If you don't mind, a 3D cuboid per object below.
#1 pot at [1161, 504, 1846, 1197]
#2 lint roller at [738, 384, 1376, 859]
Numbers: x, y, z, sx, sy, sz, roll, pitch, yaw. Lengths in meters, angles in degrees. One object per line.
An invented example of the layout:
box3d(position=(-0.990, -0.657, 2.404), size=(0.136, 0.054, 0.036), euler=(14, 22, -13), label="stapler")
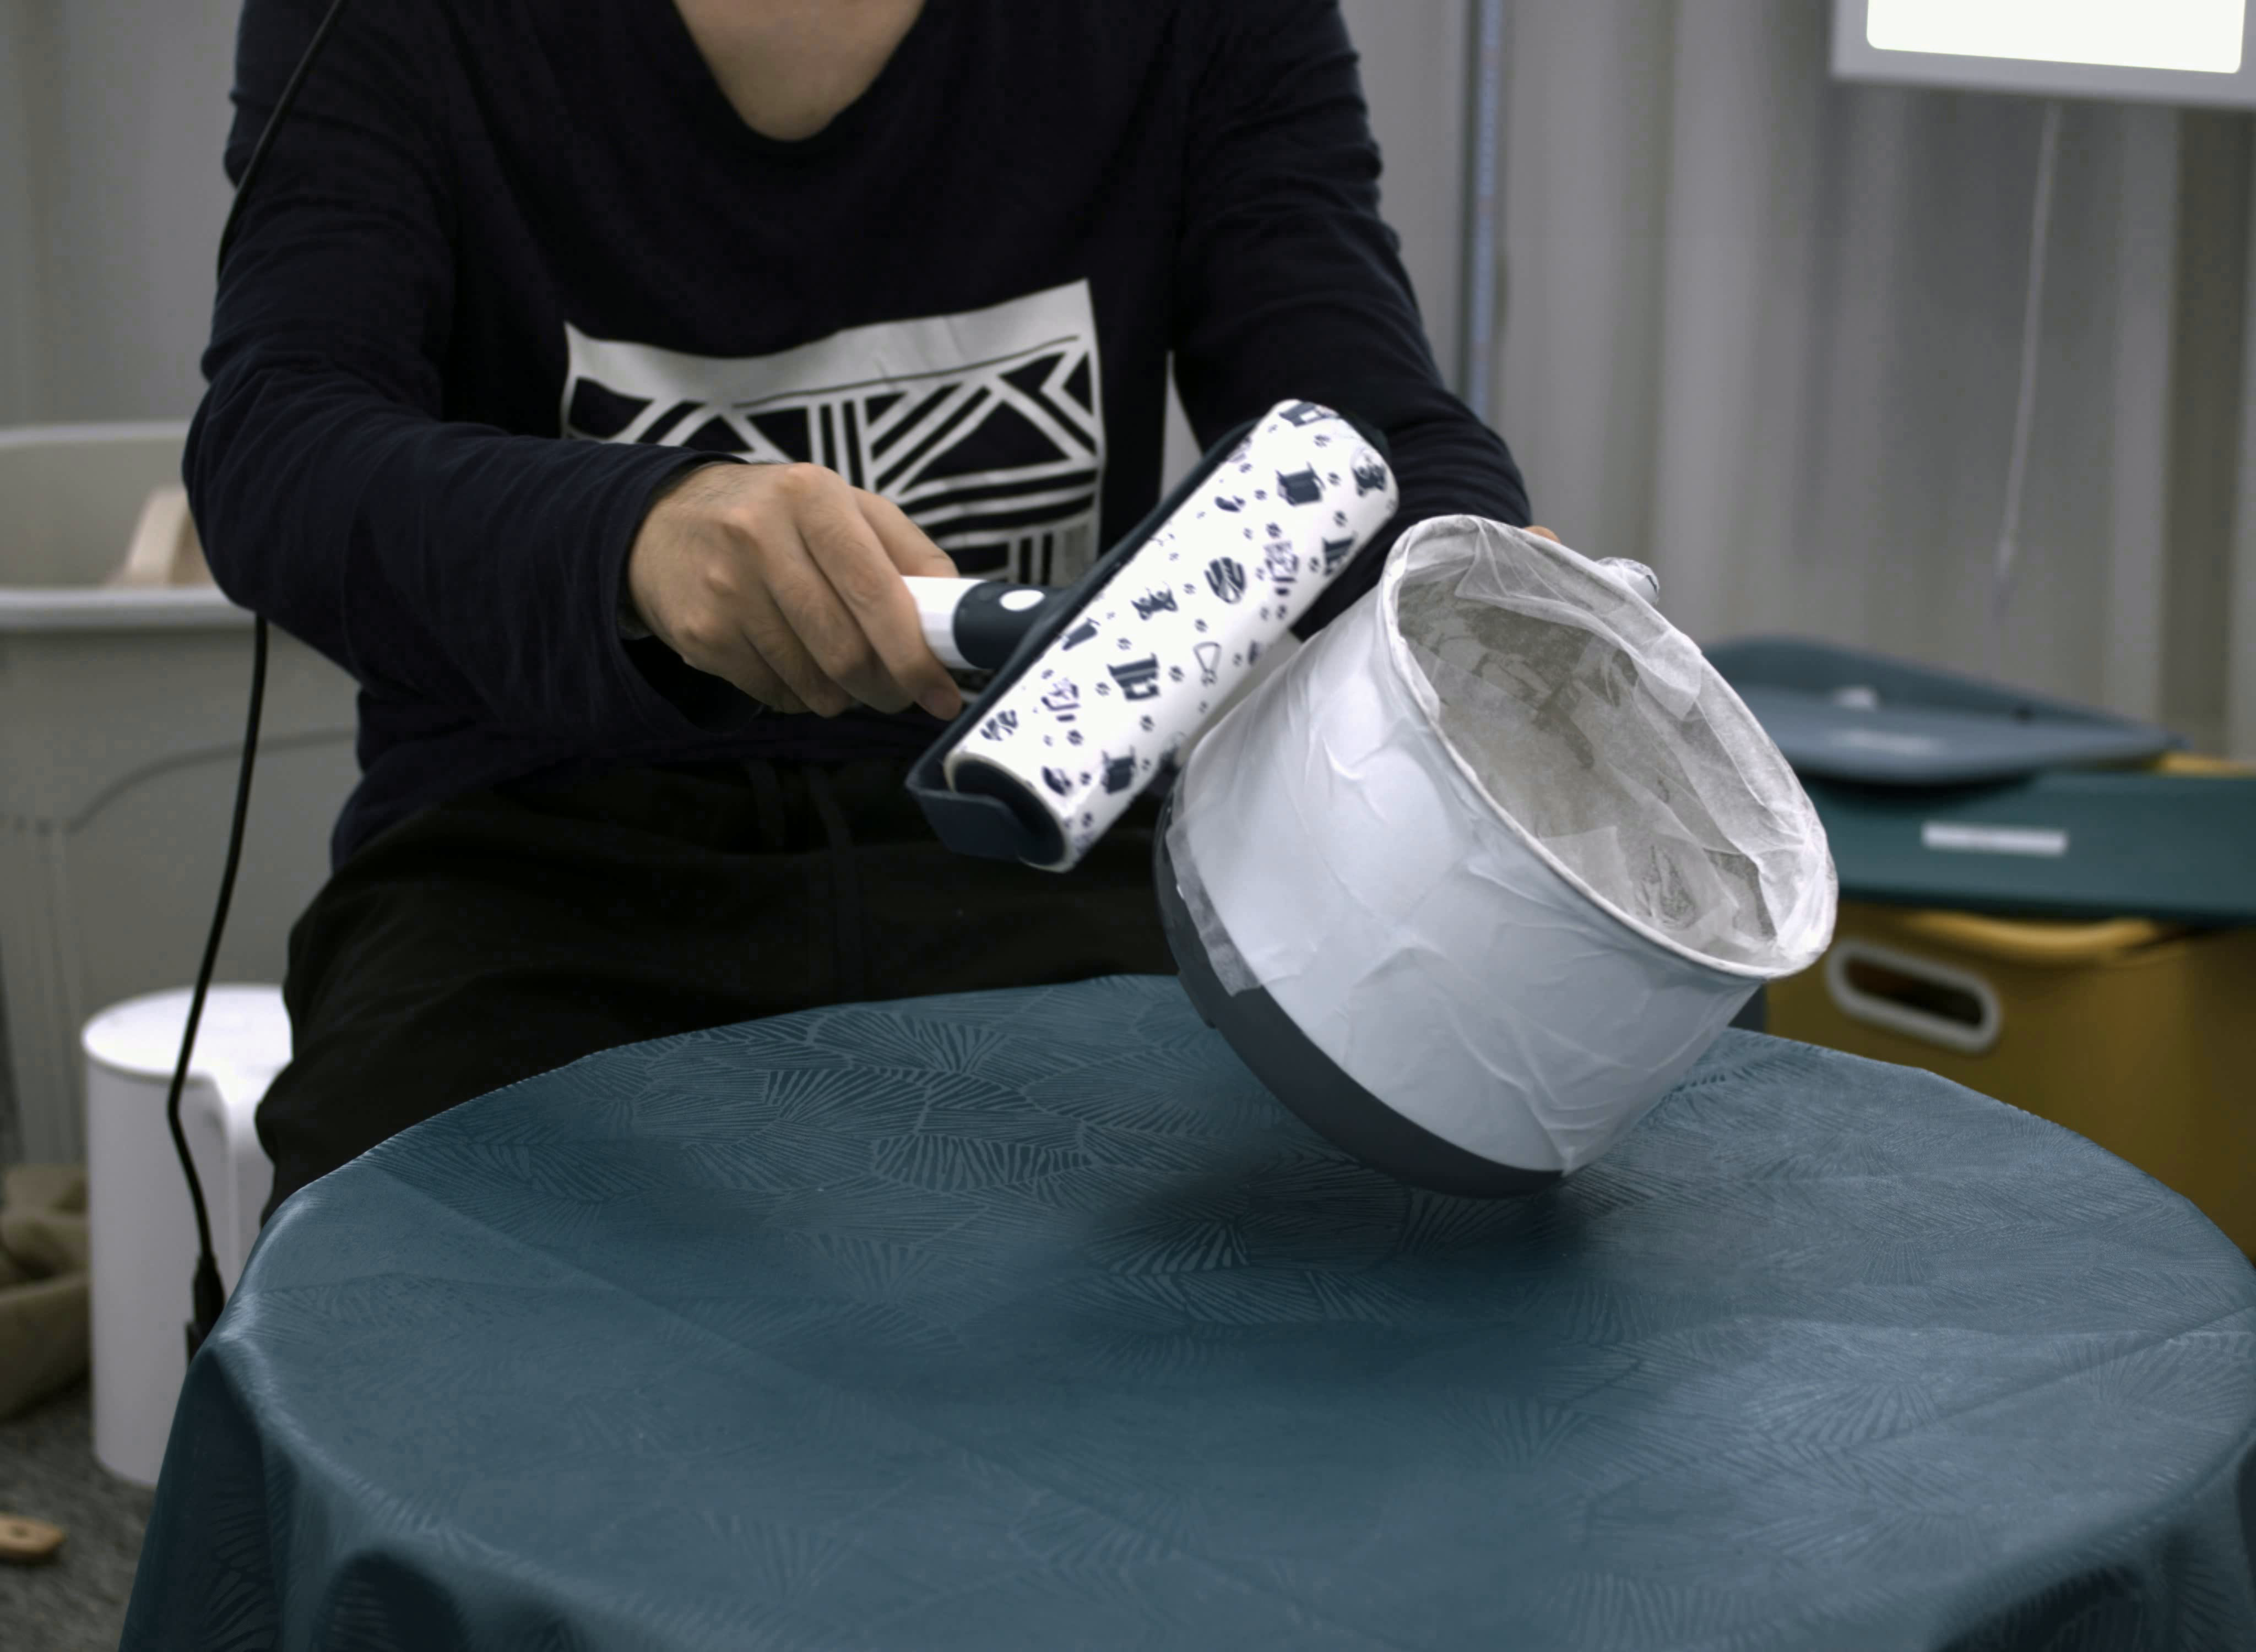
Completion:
box3d(position=(0.113, -0.003, 1.610), size=(0.180, 0.136, 0.232), euler=(39, 33, -16), label="pot")
box3d(position=(-0.052, -0.062, 1.616), size=(0.244, 0.051, 0.176), euler=(2, 45, 51), label="lint roller")
